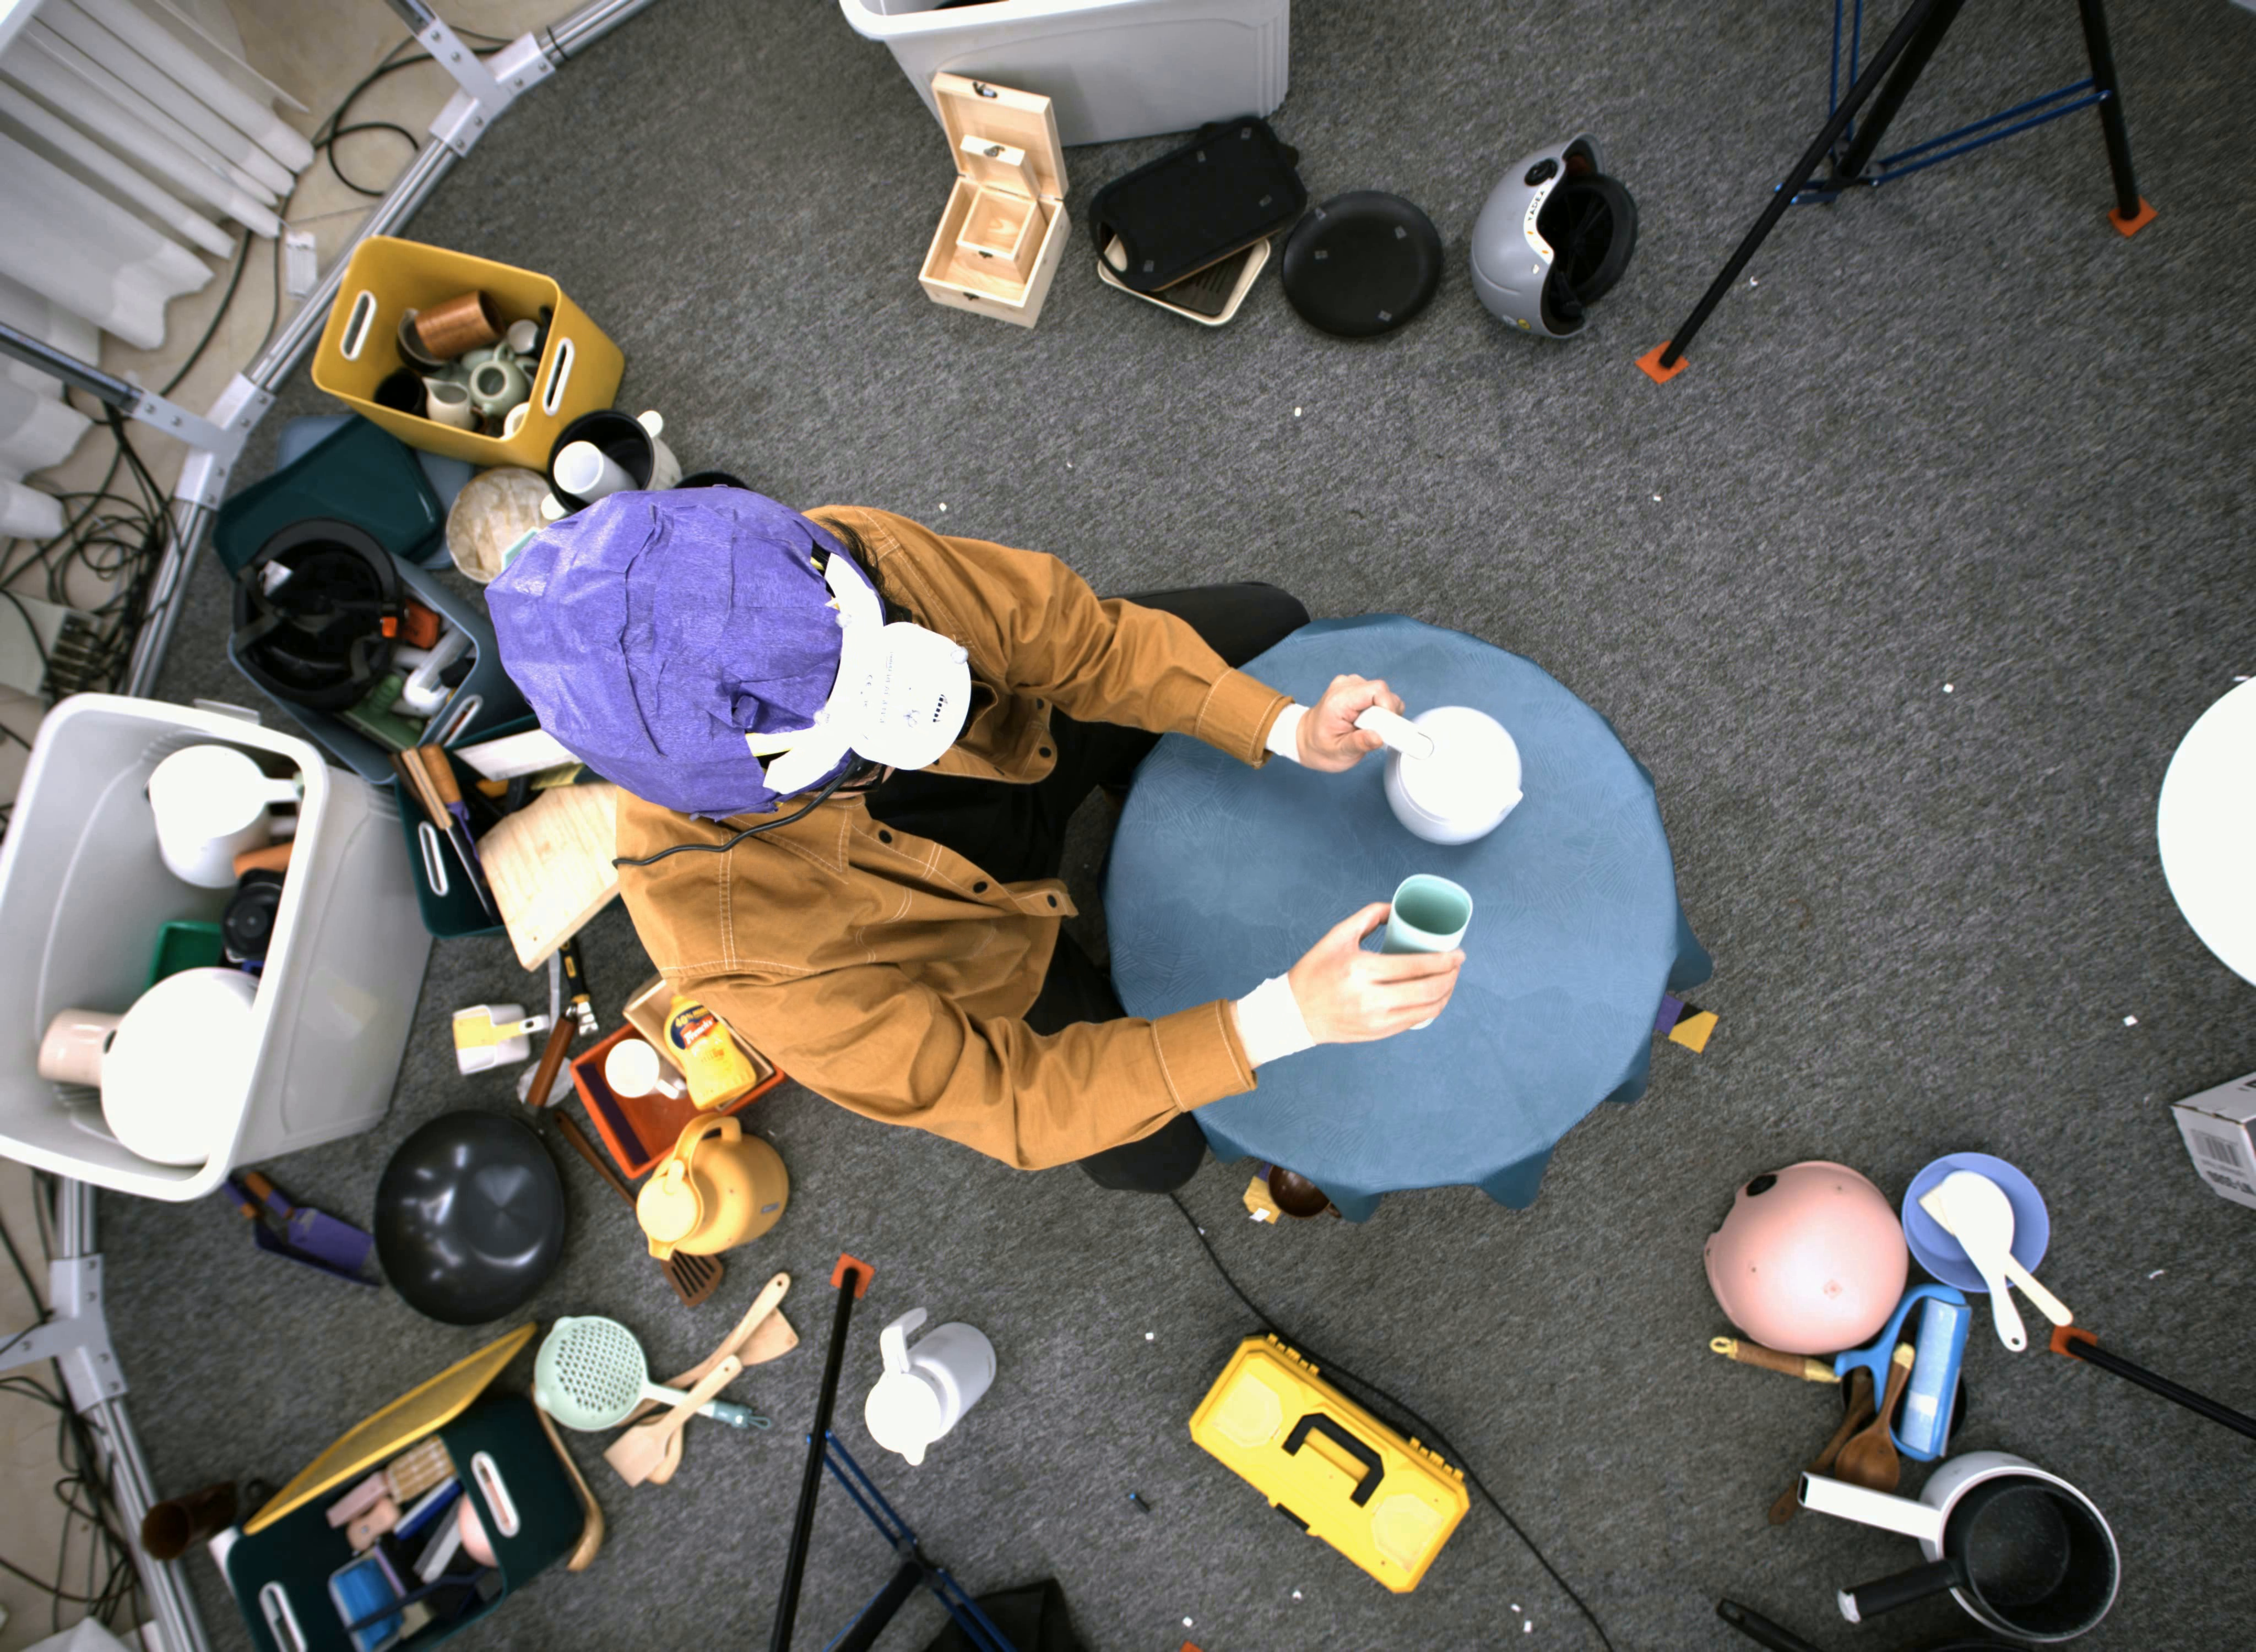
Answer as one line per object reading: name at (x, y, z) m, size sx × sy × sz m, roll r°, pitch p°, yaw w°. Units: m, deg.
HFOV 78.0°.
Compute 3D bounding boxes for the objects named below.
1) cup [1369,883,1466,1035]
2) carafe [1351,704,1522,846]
cup at (0.242, 0.114, 1.167) m, size 0.067 × 0.135 × 0.065 m, roll -1°, pitch 50°, yaw 1°
carafe at (0.286, -0.059, 1.285) m, size 0.167 × 0.247 × 0.133 m, roll 32°, pitch 97°, yaw 12°
